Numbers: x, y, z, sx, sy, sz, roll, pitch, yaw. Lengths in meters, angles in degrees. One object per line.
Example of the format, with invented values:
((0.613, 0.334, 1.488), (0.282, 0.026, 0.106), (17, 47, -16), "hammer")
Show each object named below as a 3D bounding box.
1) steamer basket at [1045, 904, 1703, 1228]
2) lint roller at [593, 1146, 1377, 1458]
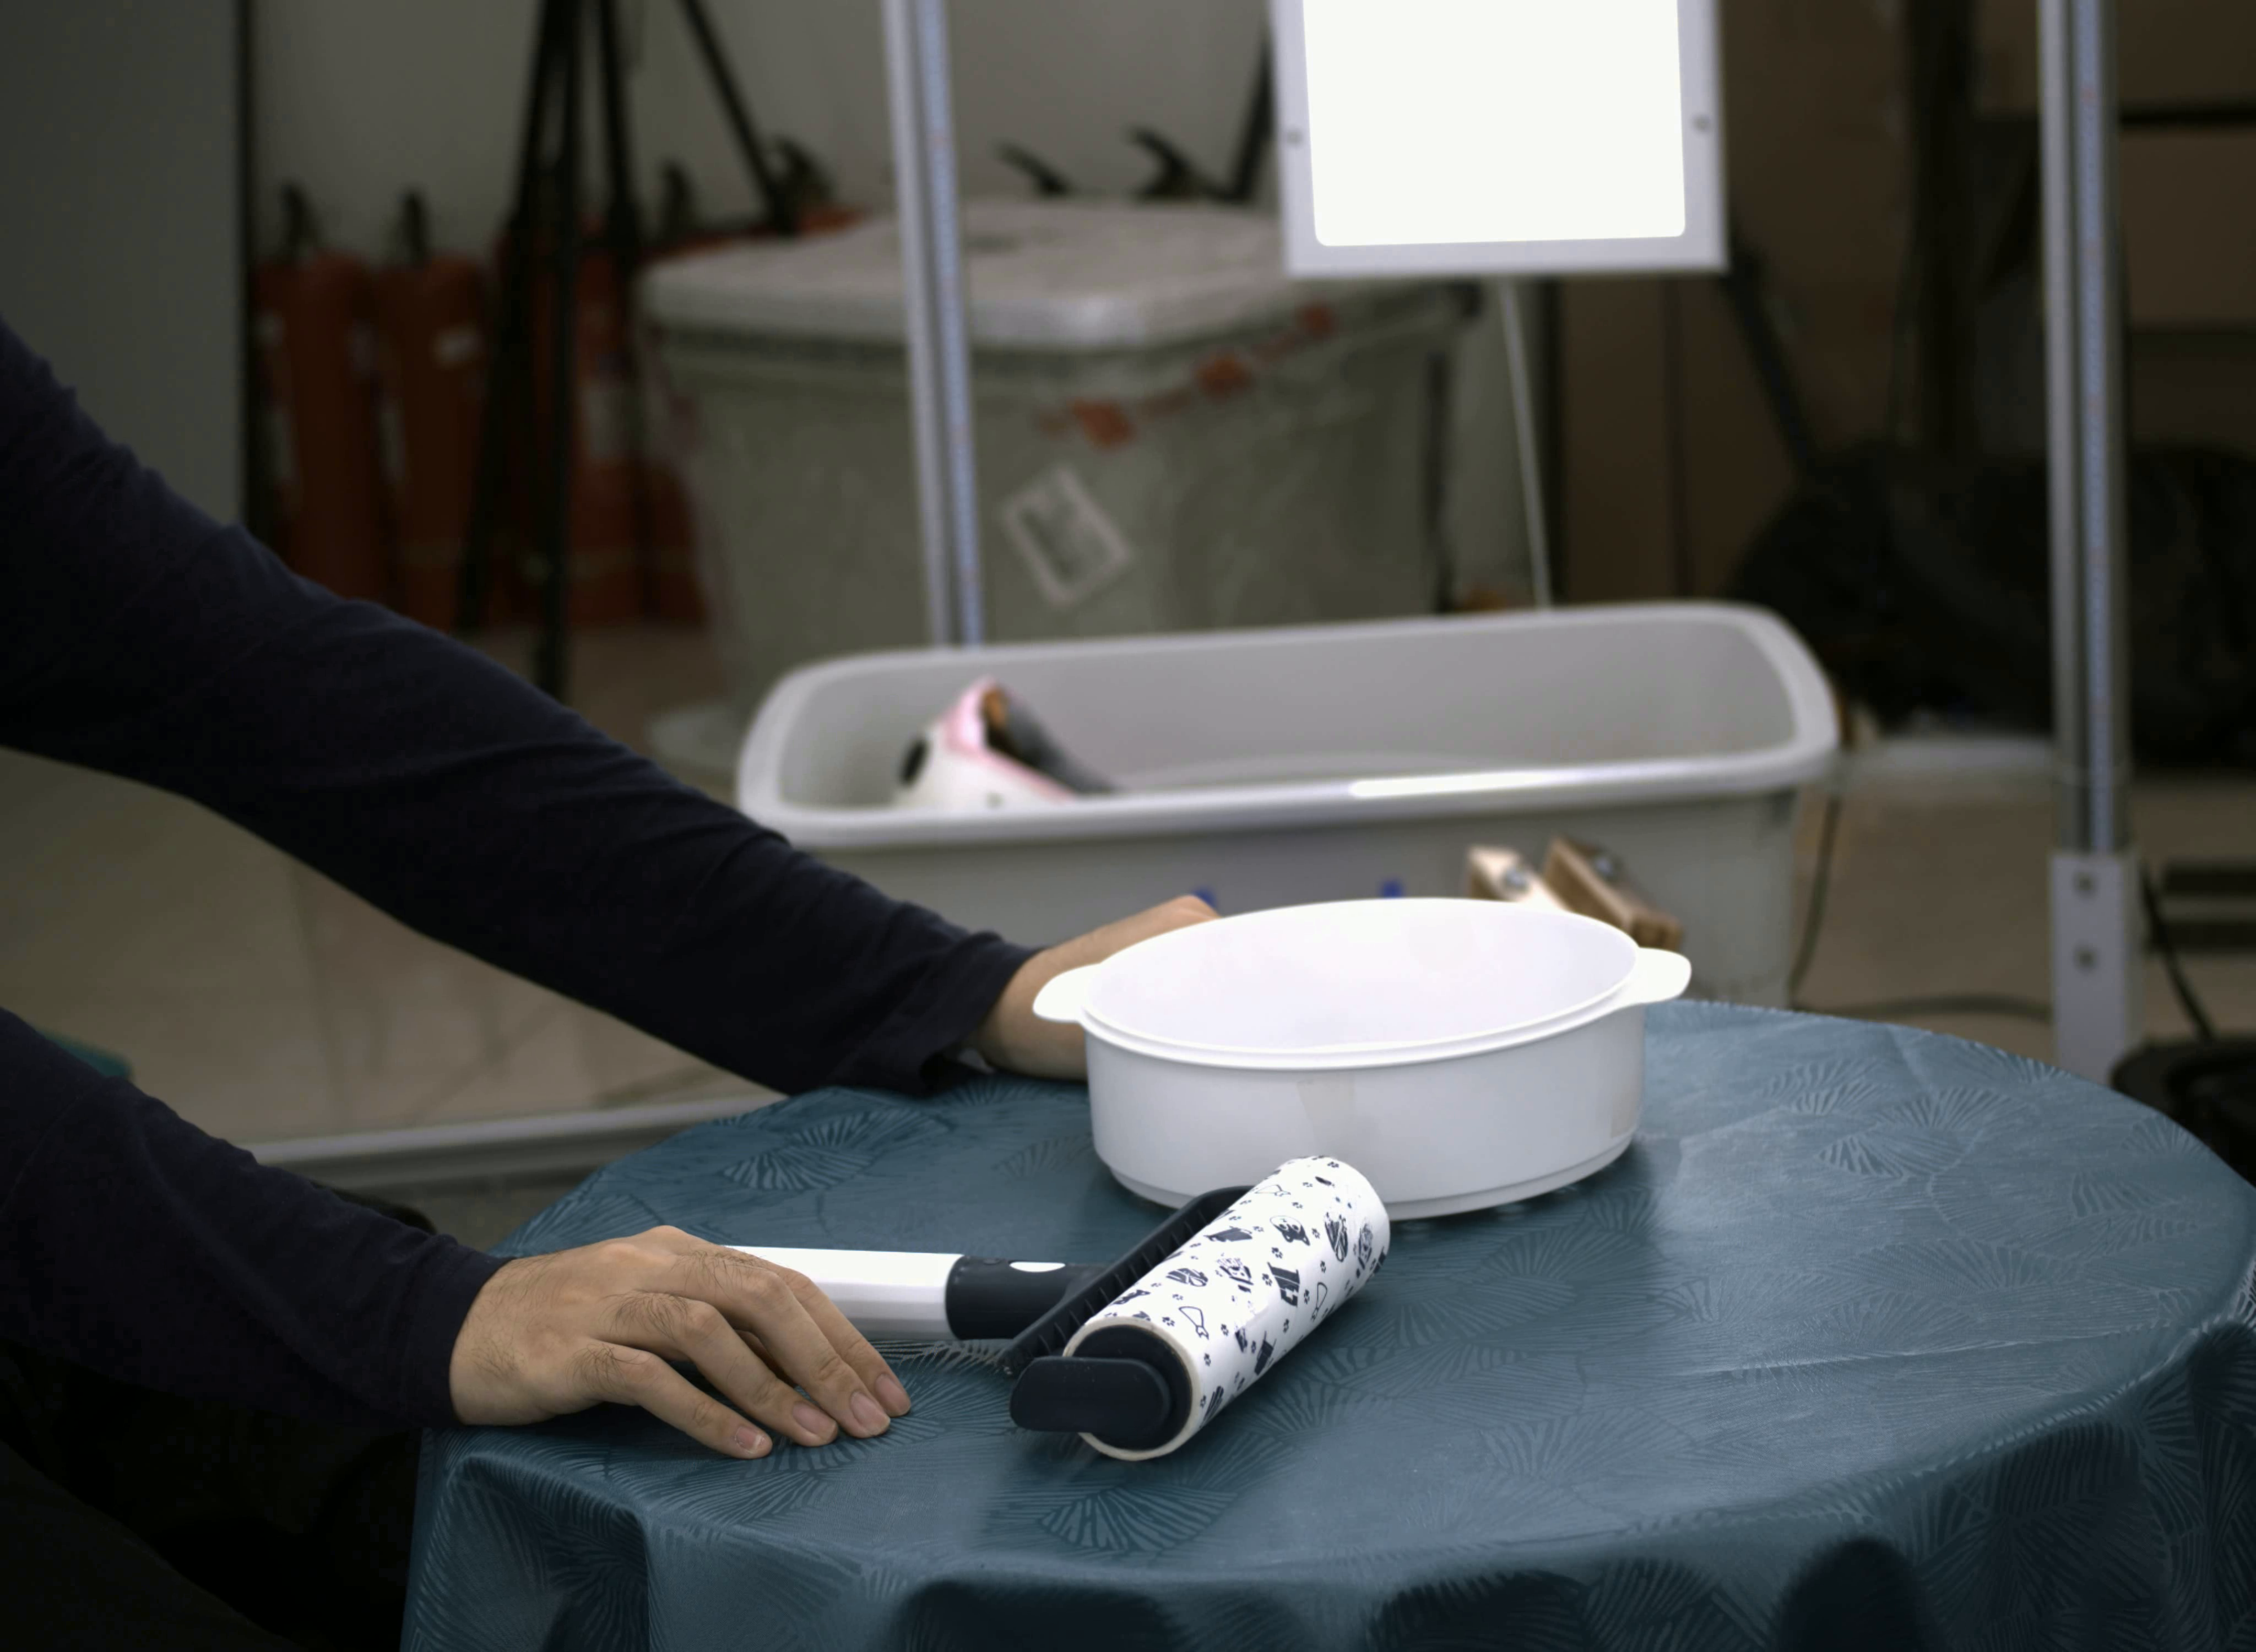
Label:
((0.088, 0.083, 1.912), (0.232, 0.069, 0.199), (-5, 13, 14), "steamer basket")
((-0.062, 0.149, 1.750), (0.251, 0.050, 0.173), (-2, 15, 25), "lint roller")
